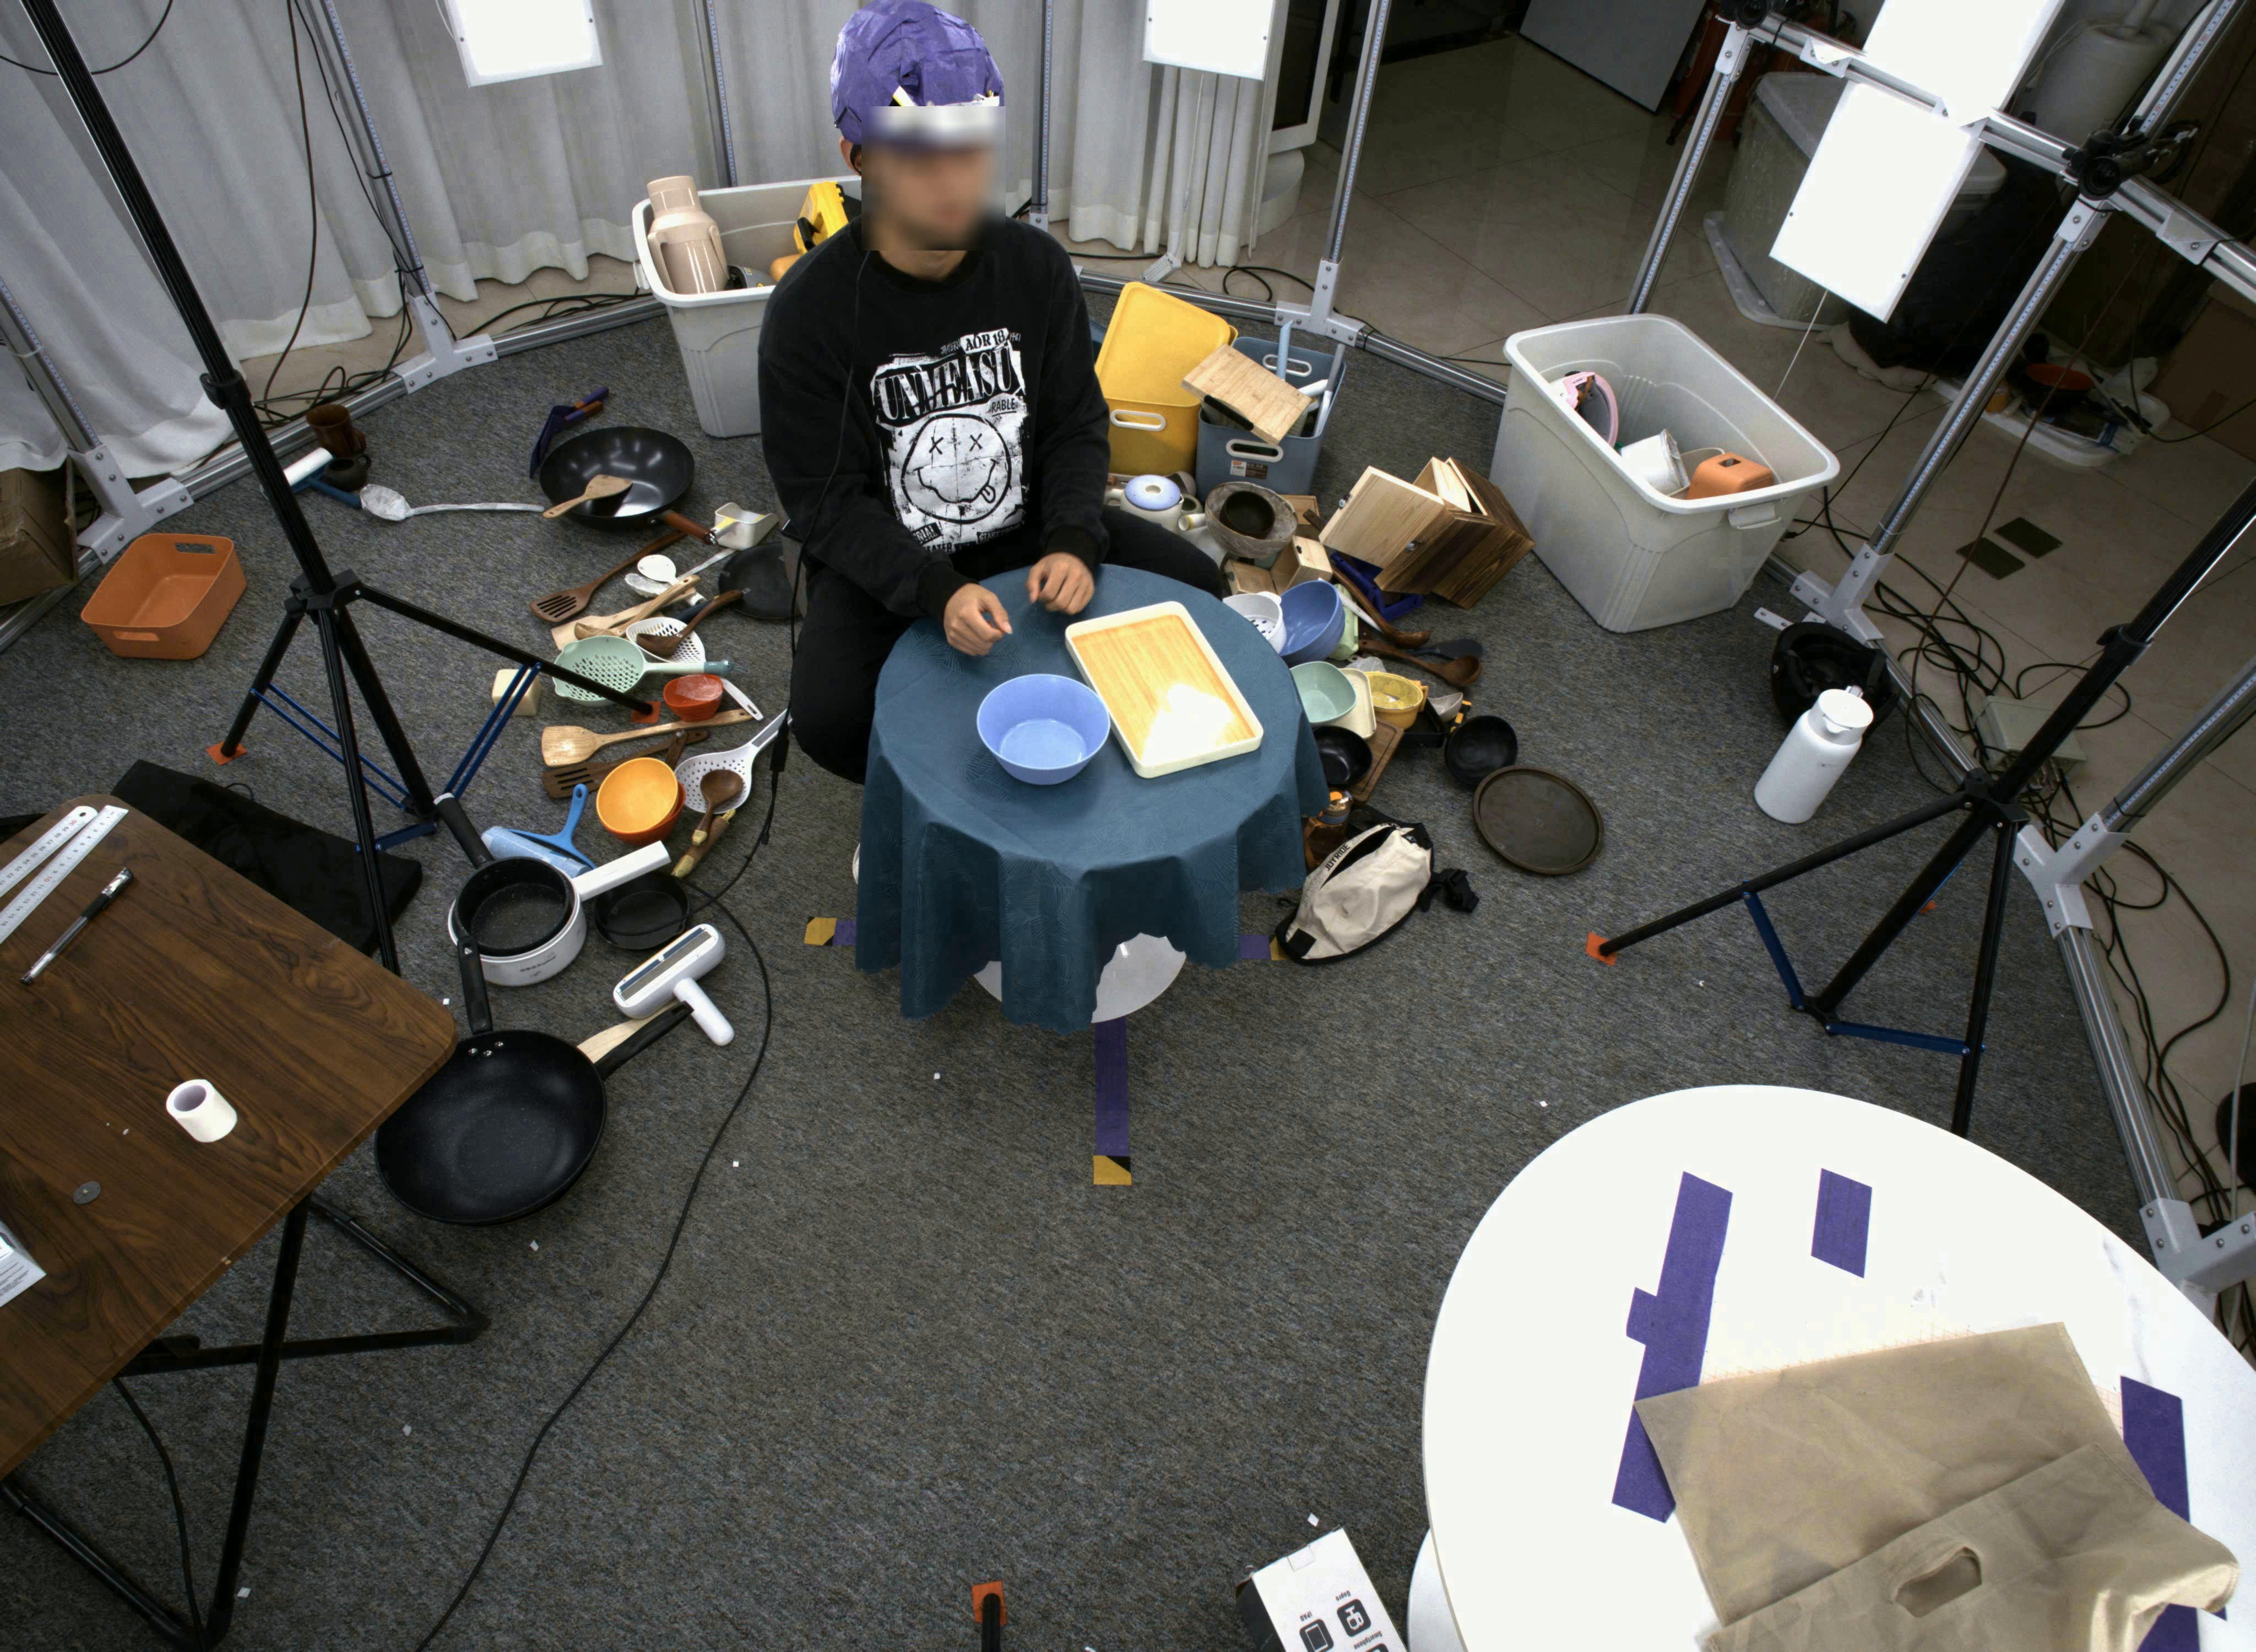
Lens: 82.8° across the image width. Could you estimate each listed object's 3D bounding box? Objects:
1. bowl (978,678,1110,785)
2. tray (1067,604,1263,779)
[{"bbox_3d":[-0.114,-0.119,1.733,0.176,0.068,0.180,3,48,-3],"label":"bowl"},{"bbox_3d":[0.049,-0.199,1.844,0.192,0.027,0.307,-15,52,-16],"label":"tray"}]
